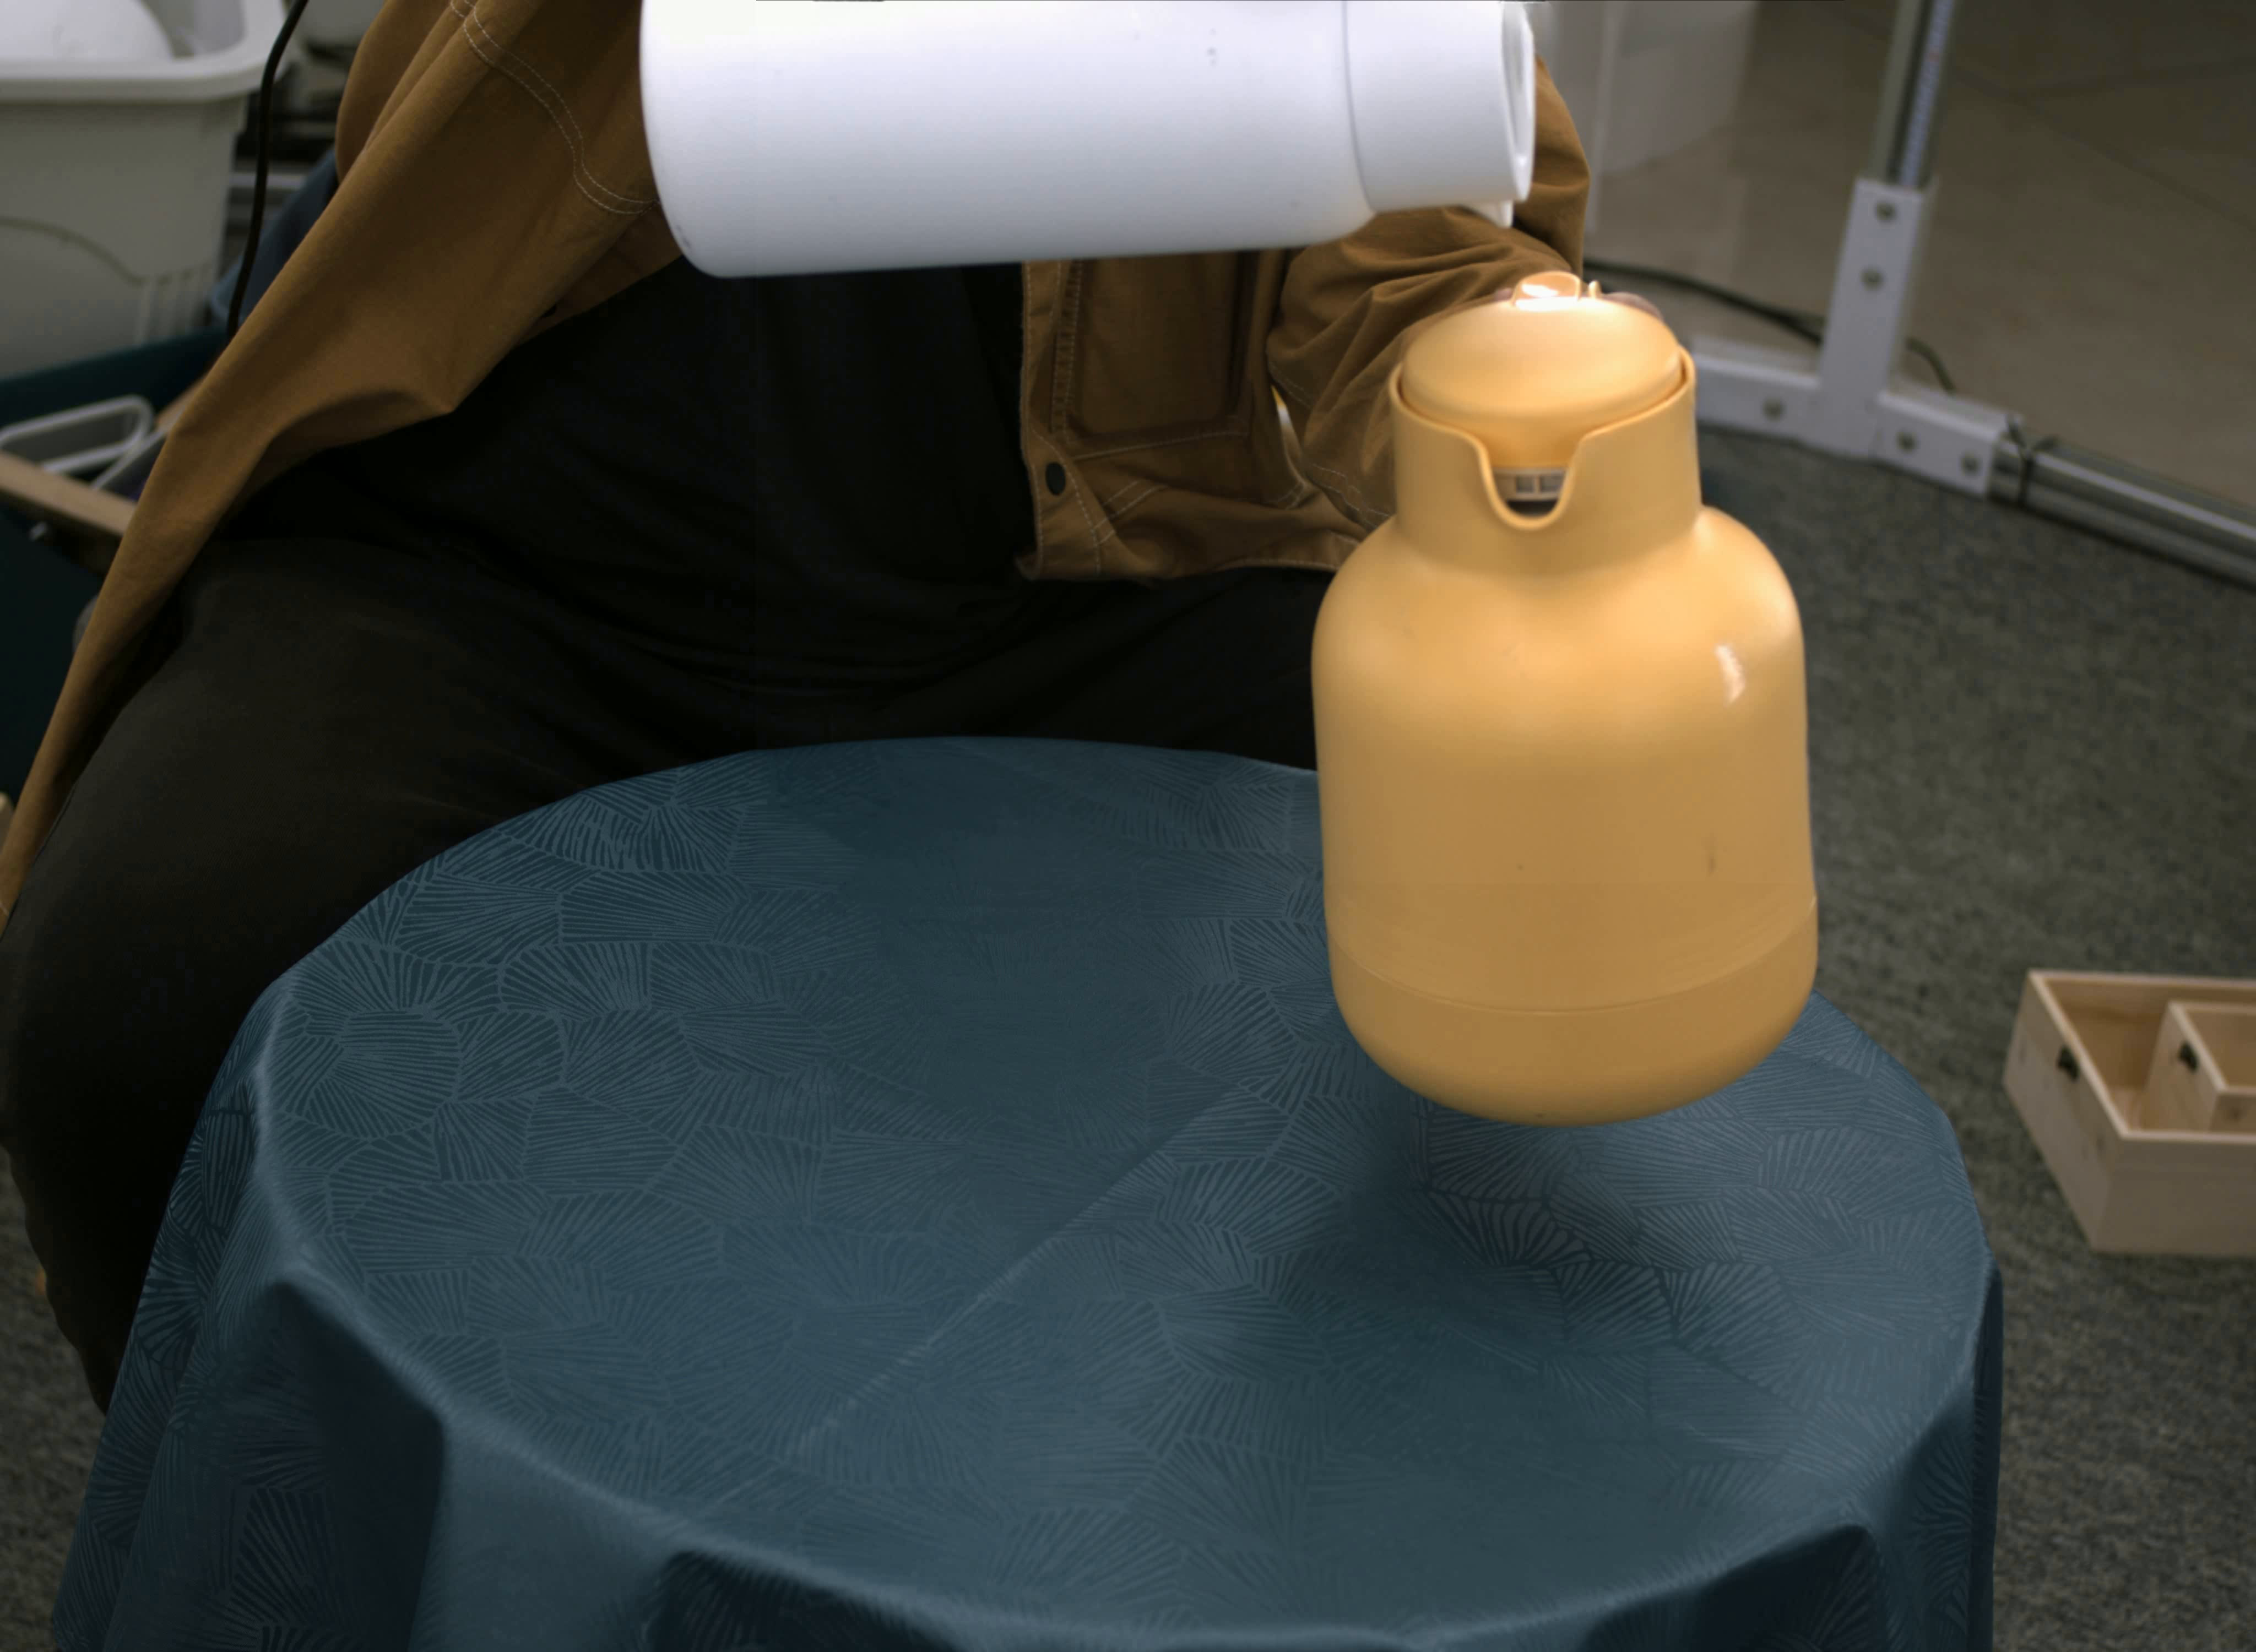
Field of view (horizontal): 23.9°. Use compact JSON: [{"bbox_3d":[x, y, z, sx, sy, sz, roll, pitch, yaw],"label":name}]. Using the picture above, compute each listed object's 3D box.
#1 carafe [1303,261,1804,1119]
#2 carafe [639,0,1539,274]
[{"bbox_3d":[0.142,-0.054,1.748,0.163,0.259,0.203,2,30,10],"label":"carafe"},{"bbox_3d":[-0.014,-0.249,1.639,0.269,0.171,0.124,-1,45,13],"label":"carafe"}]
